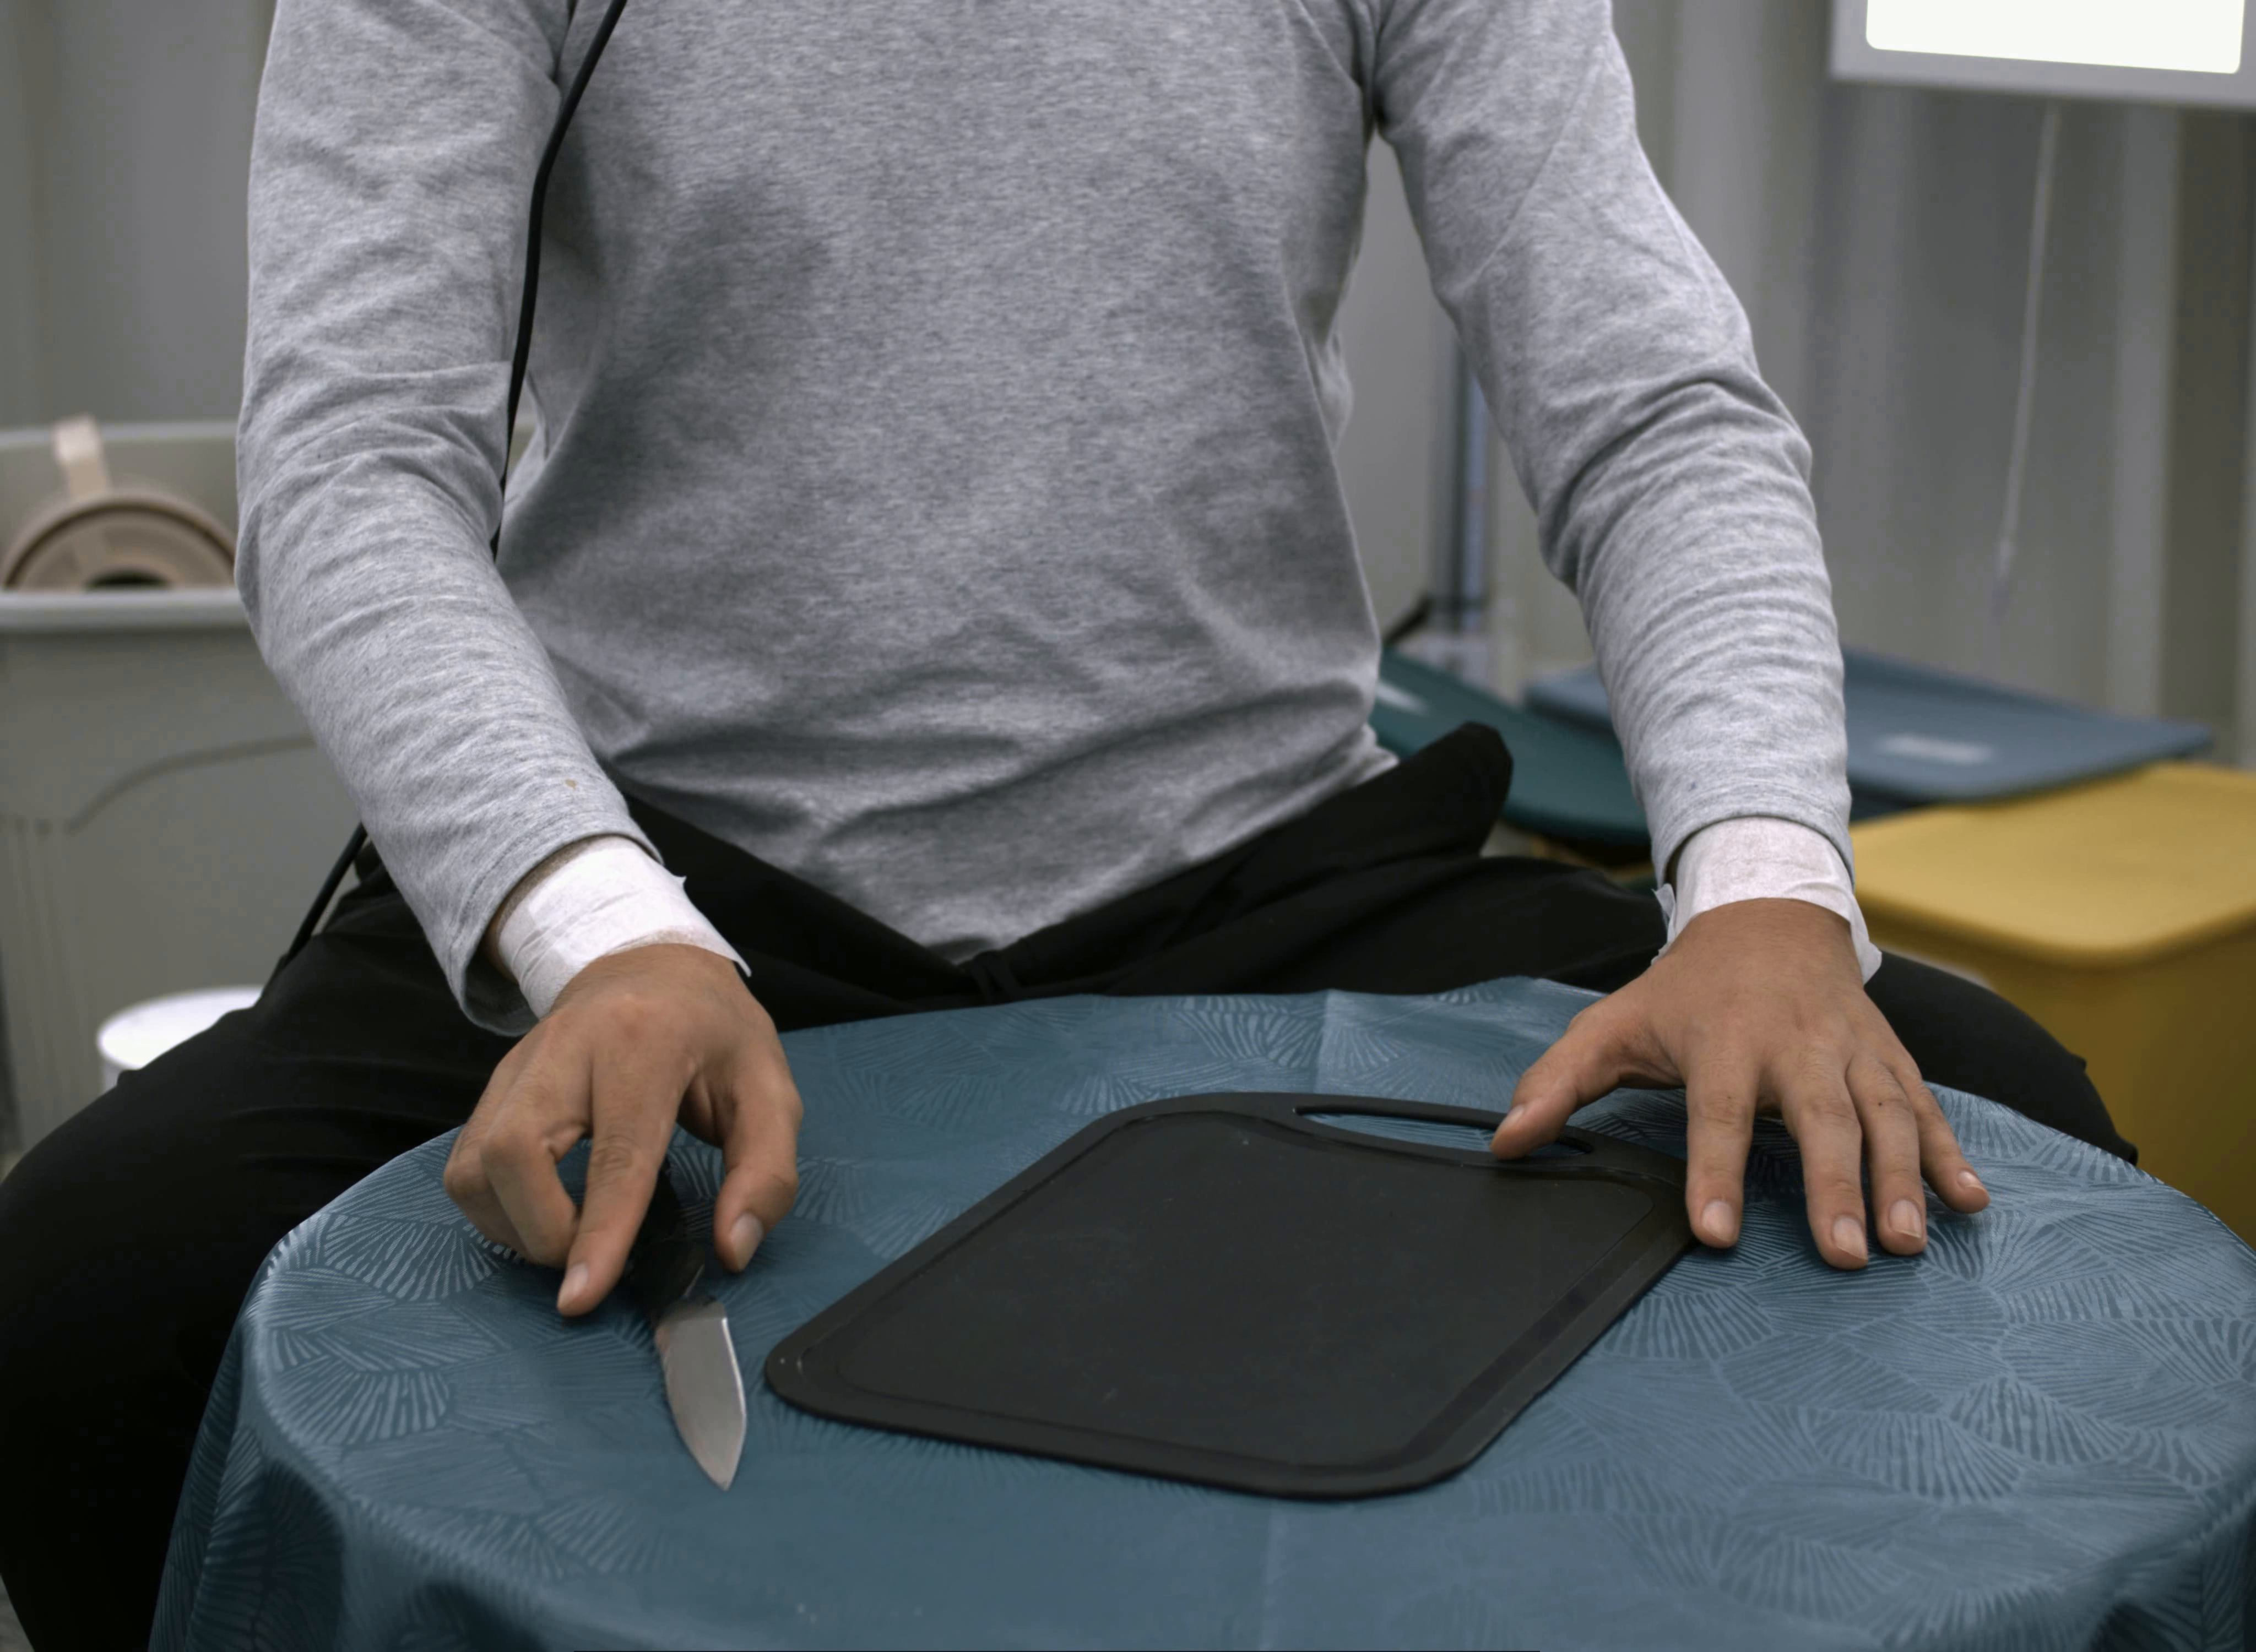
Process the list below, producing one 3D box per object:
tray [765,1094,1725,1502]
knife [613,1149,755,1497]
[{"bbox_3d":[0.044,0.129,1.555,0.209,0.010,0.326,8,17,23],"label":"tray"},{"bbox_3d":[-0.127,0.140,1.498,0.024,0.016,0.236,-5,19,-10],"label":"knife"}]
